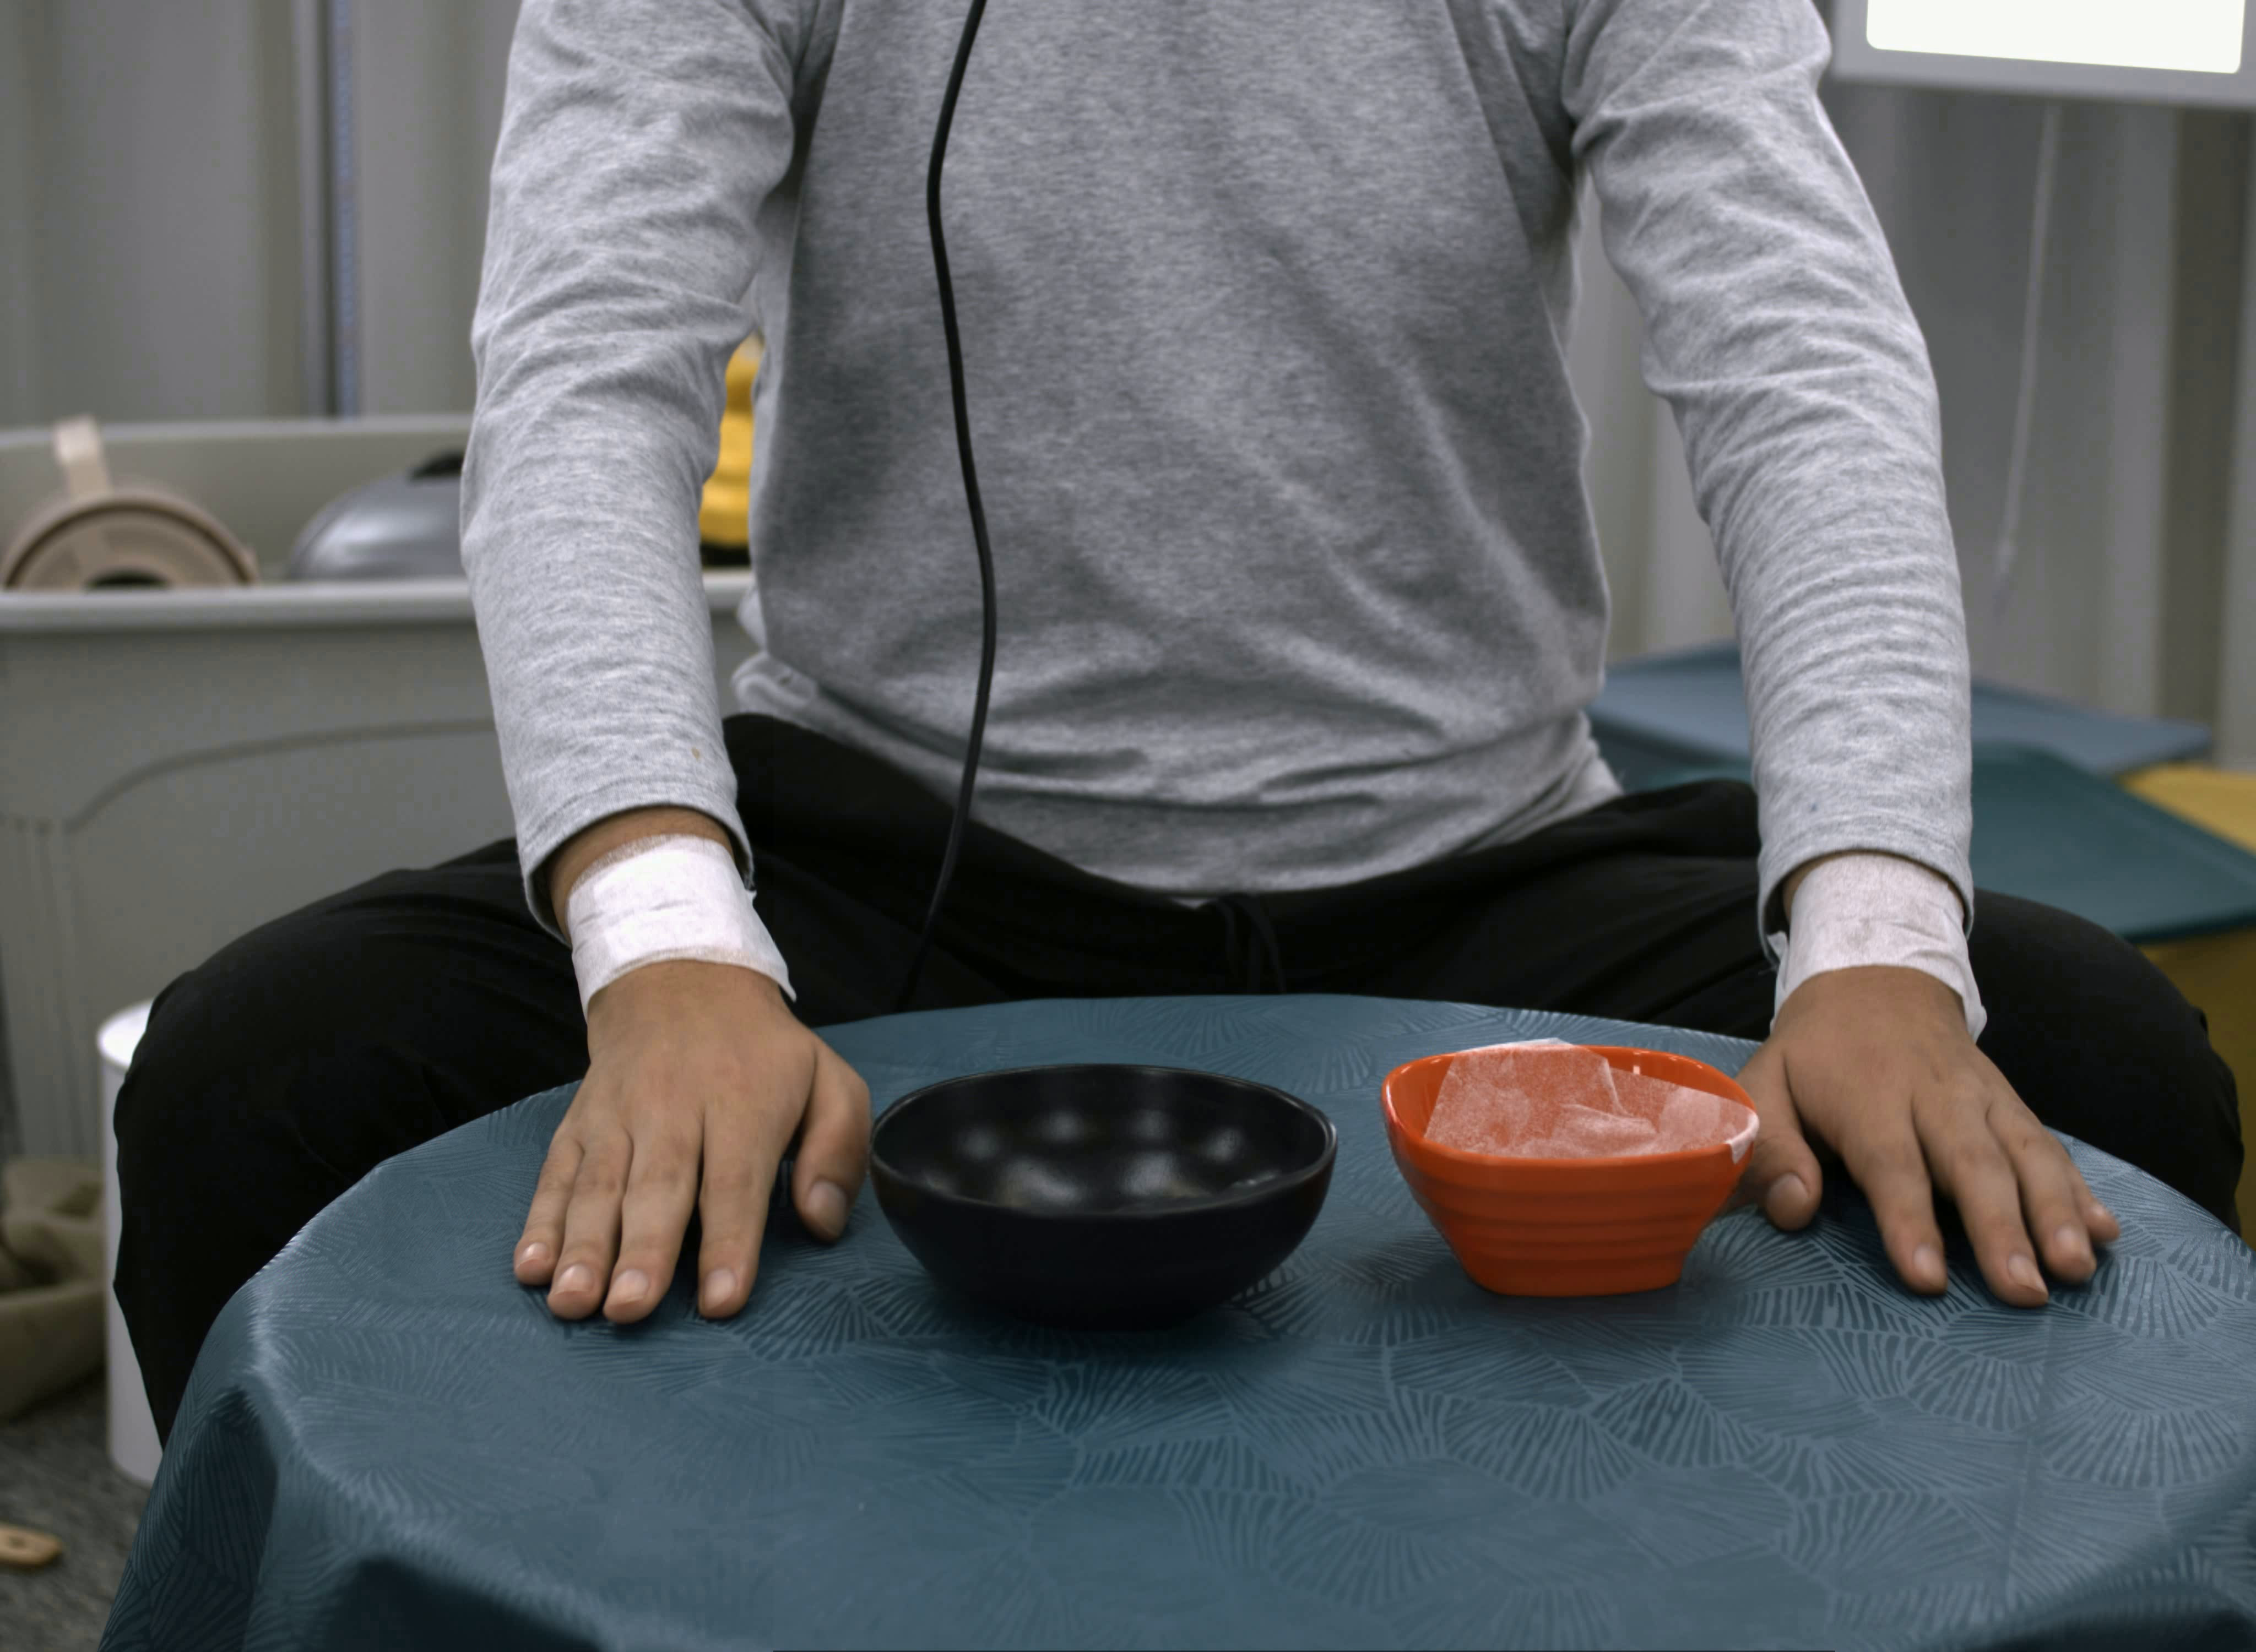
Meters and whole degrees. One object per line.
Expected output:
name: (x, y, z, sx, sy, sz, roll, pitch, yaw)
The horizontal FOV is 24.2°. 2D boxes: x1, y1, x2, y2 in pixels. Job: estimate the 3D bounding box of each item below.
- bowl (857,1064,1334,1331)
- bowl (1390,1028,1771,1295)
bowl: (-0.010, 0.113, 1.533, 0.139, 0.050, 0.139, 2, 15, 0)
bowl: (0.133, 0.102, 1.562, 0.118, 0.052, 0.118, 0, 19, 1)
